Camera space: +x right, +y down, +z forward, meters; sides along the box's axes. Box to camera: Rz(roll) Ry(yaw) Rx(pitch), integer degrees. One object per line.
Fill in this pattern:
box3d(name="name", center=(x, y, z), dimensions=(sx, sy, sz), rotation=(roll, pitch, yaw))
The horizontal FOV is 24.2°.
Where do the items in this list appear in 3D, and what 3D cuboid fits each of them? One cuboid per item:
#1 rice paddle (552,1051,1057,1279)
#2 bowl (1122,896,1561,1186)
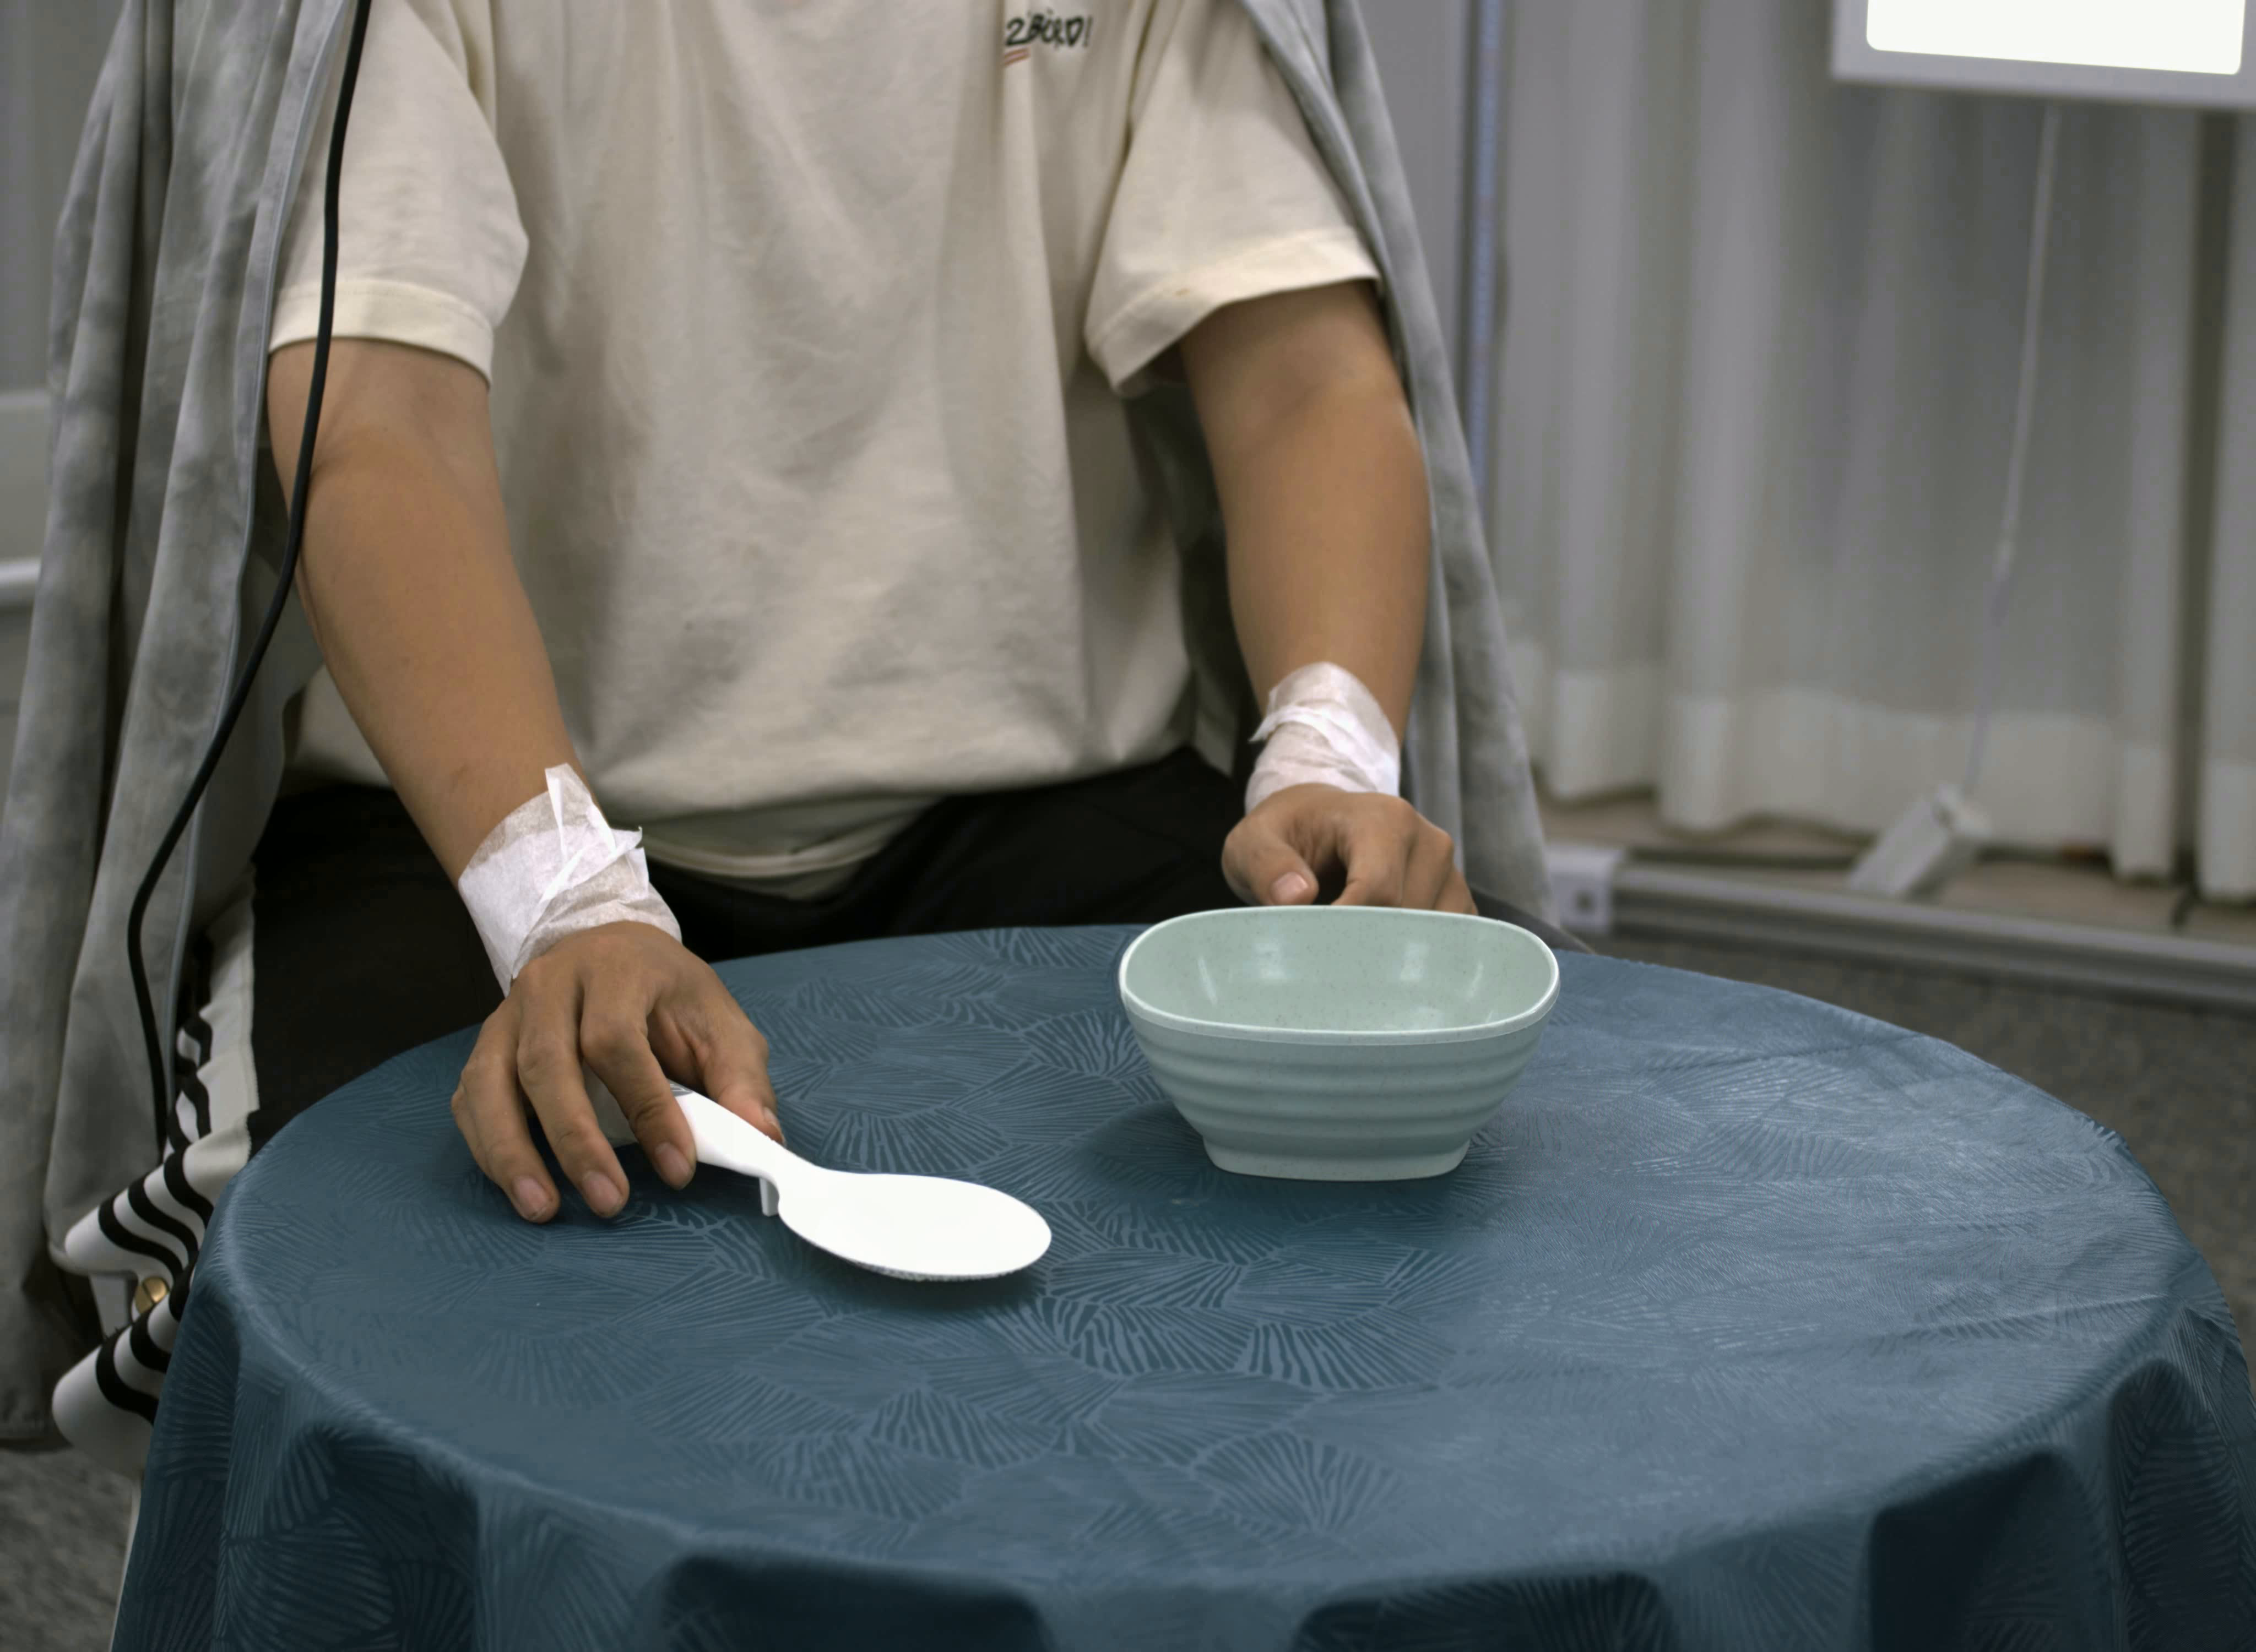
box3d(name="rice paddle", center=(-0.100, 0.104, 1.595), dimensions=(0.069, 0.029, 0.202), rotation=(-16, 22, -41))
box3d(name="bowl", center=(0.068, 0.071, 1.669), dimensions=(0.151, 0.059, 0.150), rotation=(0, 18, 1))
